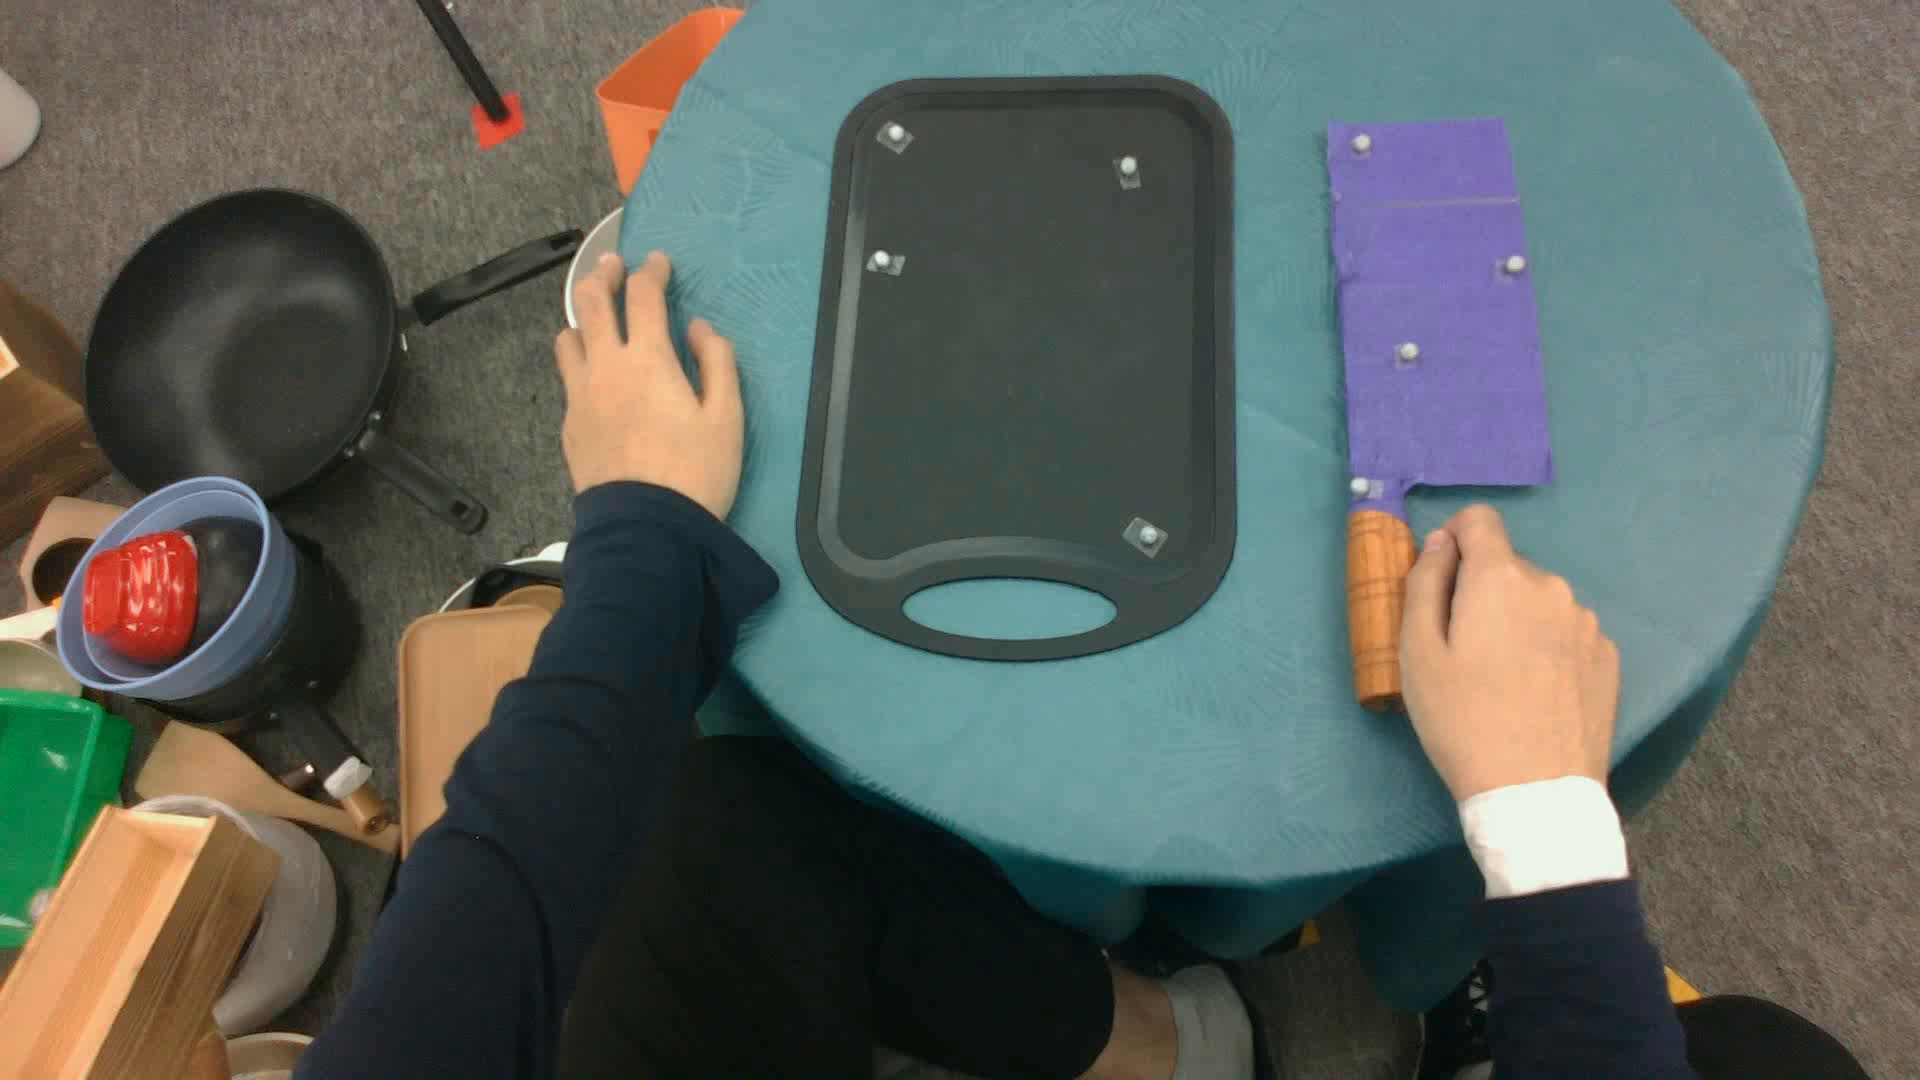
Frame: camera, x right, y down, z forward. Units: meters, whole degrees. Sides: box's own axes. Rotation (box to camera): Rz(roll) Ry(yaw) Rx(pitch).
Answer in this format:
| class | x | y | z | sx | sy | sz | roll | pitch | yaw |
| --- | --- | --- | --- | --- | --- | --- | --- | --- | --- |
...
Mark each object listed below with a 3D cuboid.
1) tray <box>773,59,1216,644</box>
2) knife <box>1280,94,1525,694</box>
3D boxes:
| class | x | y | z | sx | sy | sz | roll | pitch | yaw |
| --- | --- | --- | --- | --- | --- | --- | --- | --- | --- |
| tray | 0.020 | -0.106 | 0.683 | 0.211 | 0.010 | 0.326 | 1 | 70 | 5 |
| knife | 0.214 | -0.083 | 0.649 | 0.104 | 0.032 | 0.316 | -1 | 69 | 4 |
